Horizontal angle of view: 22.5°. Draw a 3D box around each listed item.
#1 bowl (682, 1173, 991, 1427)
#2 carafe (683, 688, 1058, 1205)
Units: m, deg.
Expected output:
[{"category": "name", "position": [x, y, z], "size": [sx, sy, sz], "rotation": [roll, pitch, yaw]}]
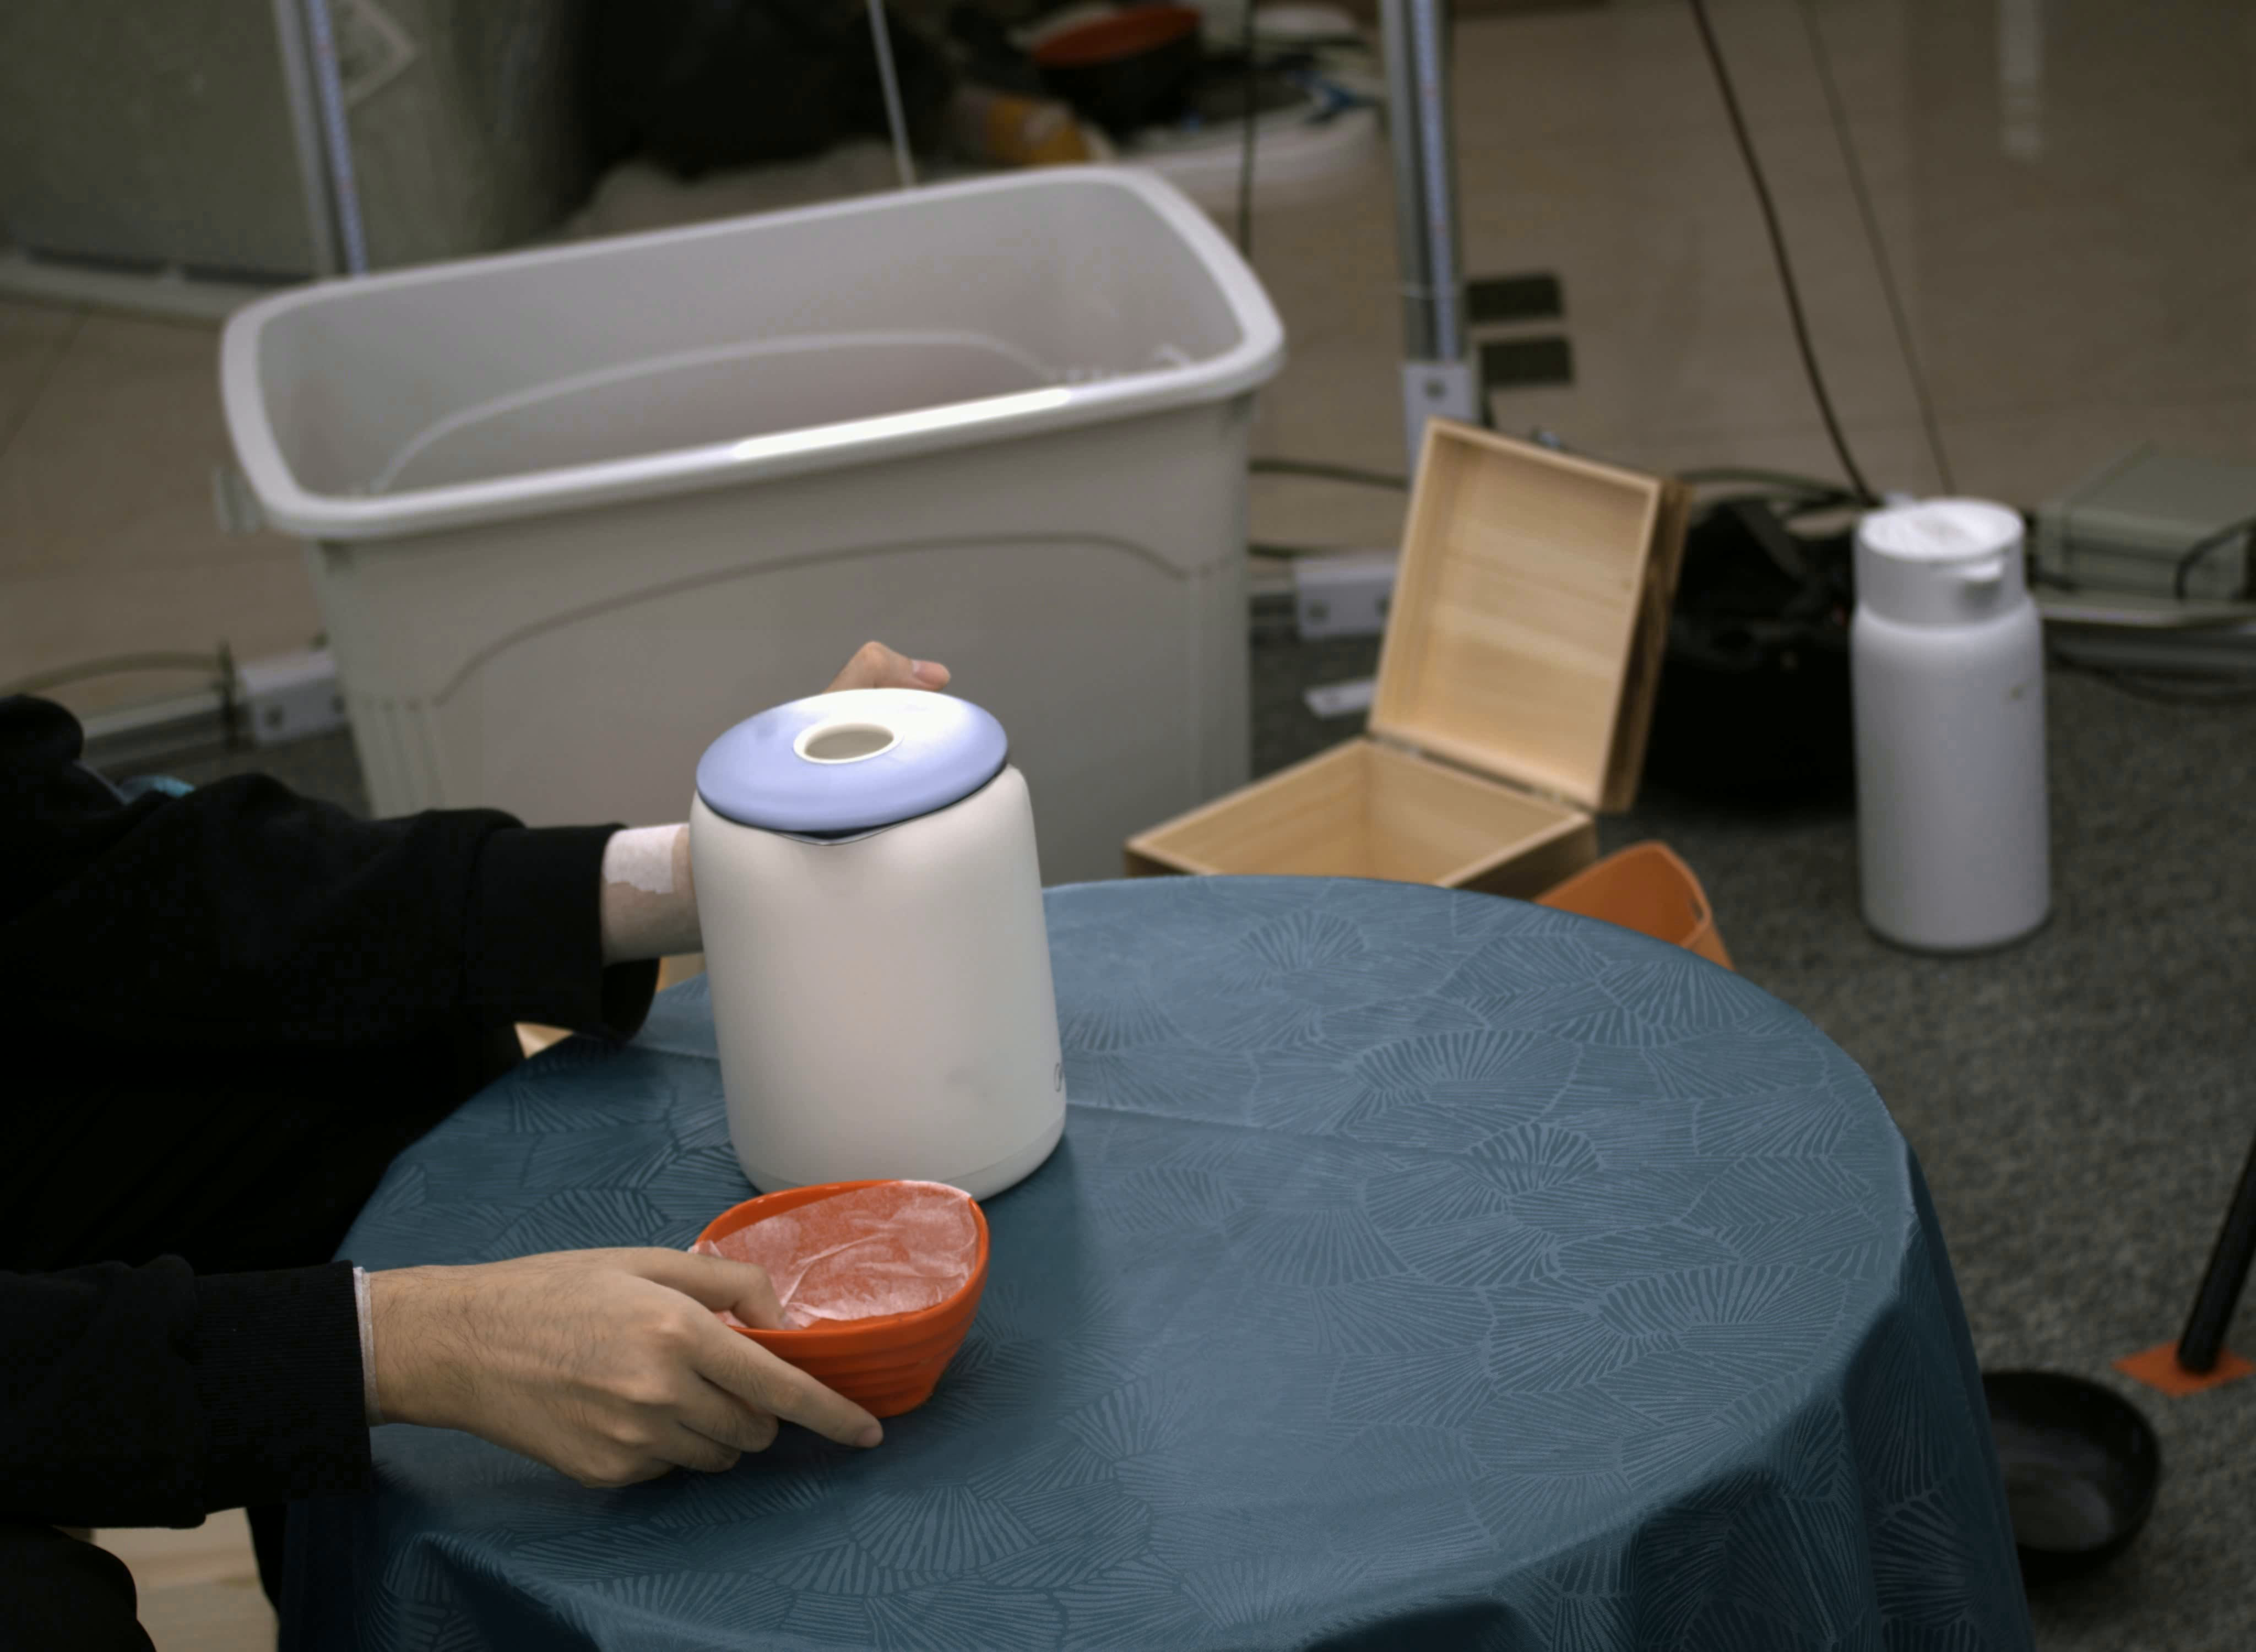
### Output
[{"category": "bowl", "position": [-0.103, 0.175, 2.031], "size": [0.119, 0.052, 0.117], "rotation": [-2, 31, 1]}, {"category": "carafe", "position": [-0.097, 0.039, 2.178], "size": [0.132, 0.185, 0.188], "rotation": [-3, 23, 3]}]
